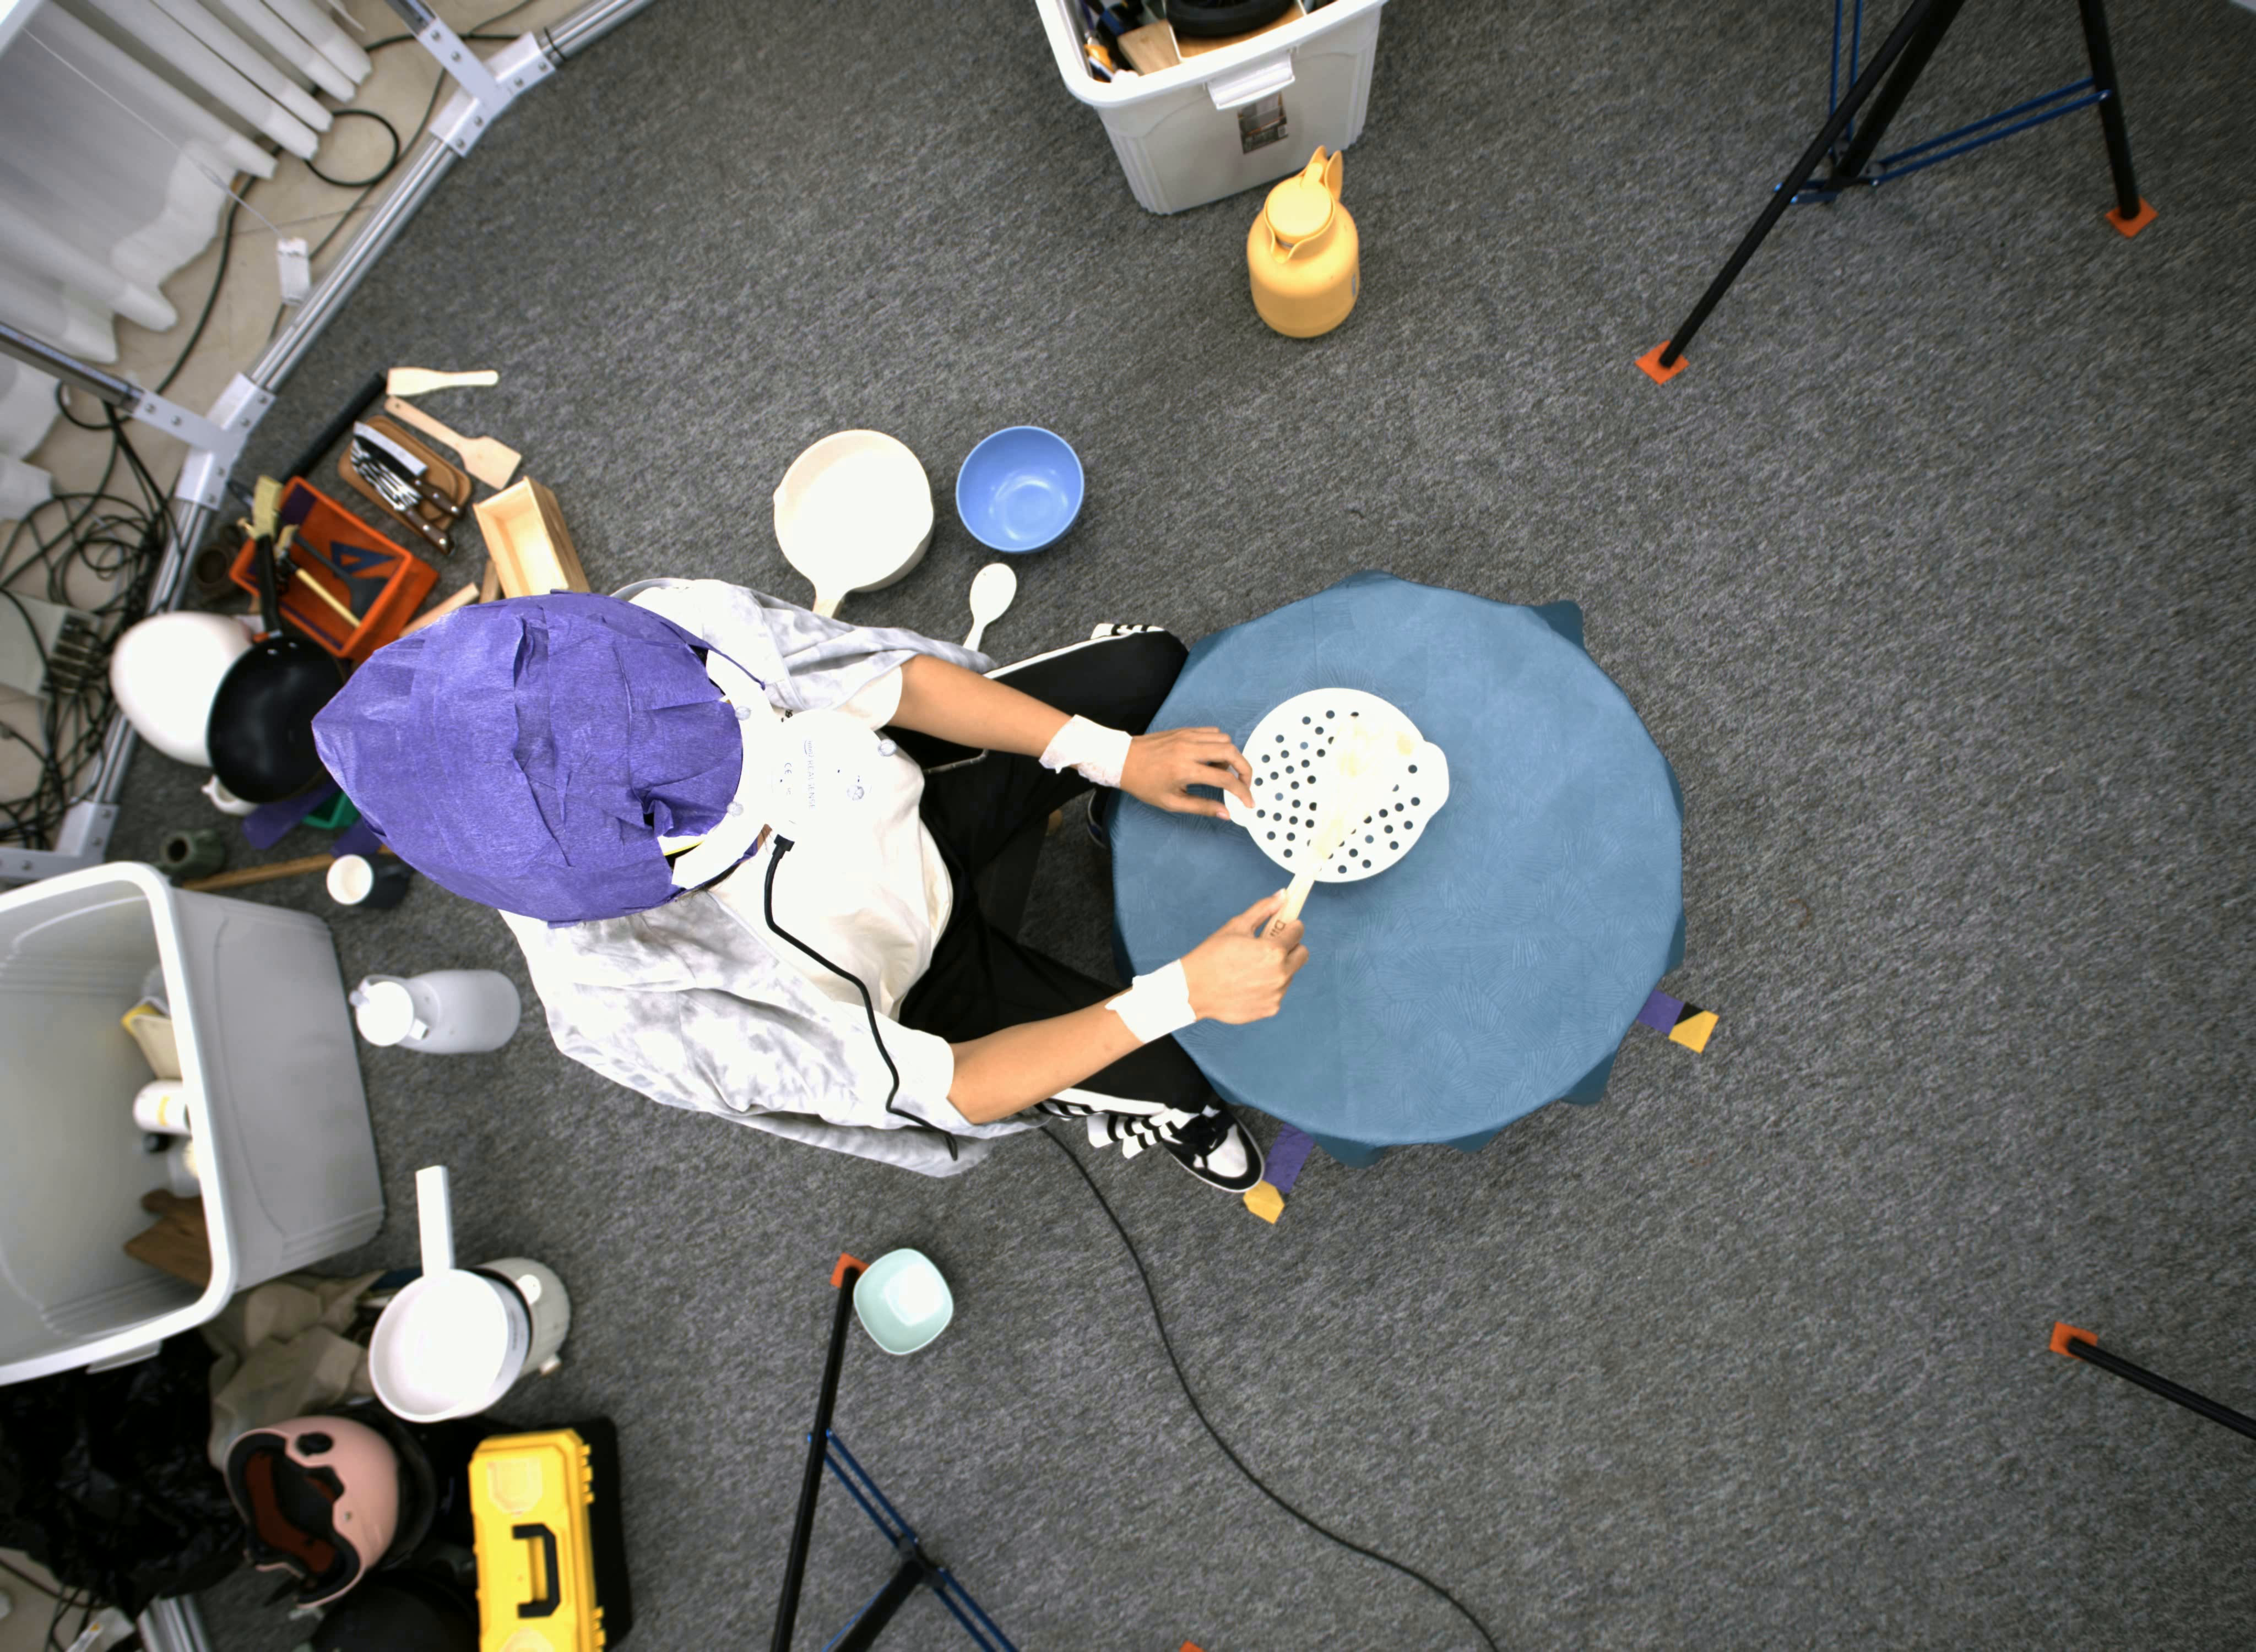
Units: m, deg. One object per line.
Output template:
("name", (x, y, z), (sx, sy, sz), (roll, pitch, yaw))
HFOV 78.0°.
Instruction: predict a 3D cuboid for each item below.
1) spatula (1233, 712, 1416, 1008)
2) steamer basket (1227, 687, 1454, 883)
("spatula", (0.180, 0.029, 1.336), (0.080, 0.017, 0.323), (29, 76, -1))
("steamer basket", (0.221, -0.041, 1.440), (0.231, 0.069, 0.200), (-4, 85, 11))
